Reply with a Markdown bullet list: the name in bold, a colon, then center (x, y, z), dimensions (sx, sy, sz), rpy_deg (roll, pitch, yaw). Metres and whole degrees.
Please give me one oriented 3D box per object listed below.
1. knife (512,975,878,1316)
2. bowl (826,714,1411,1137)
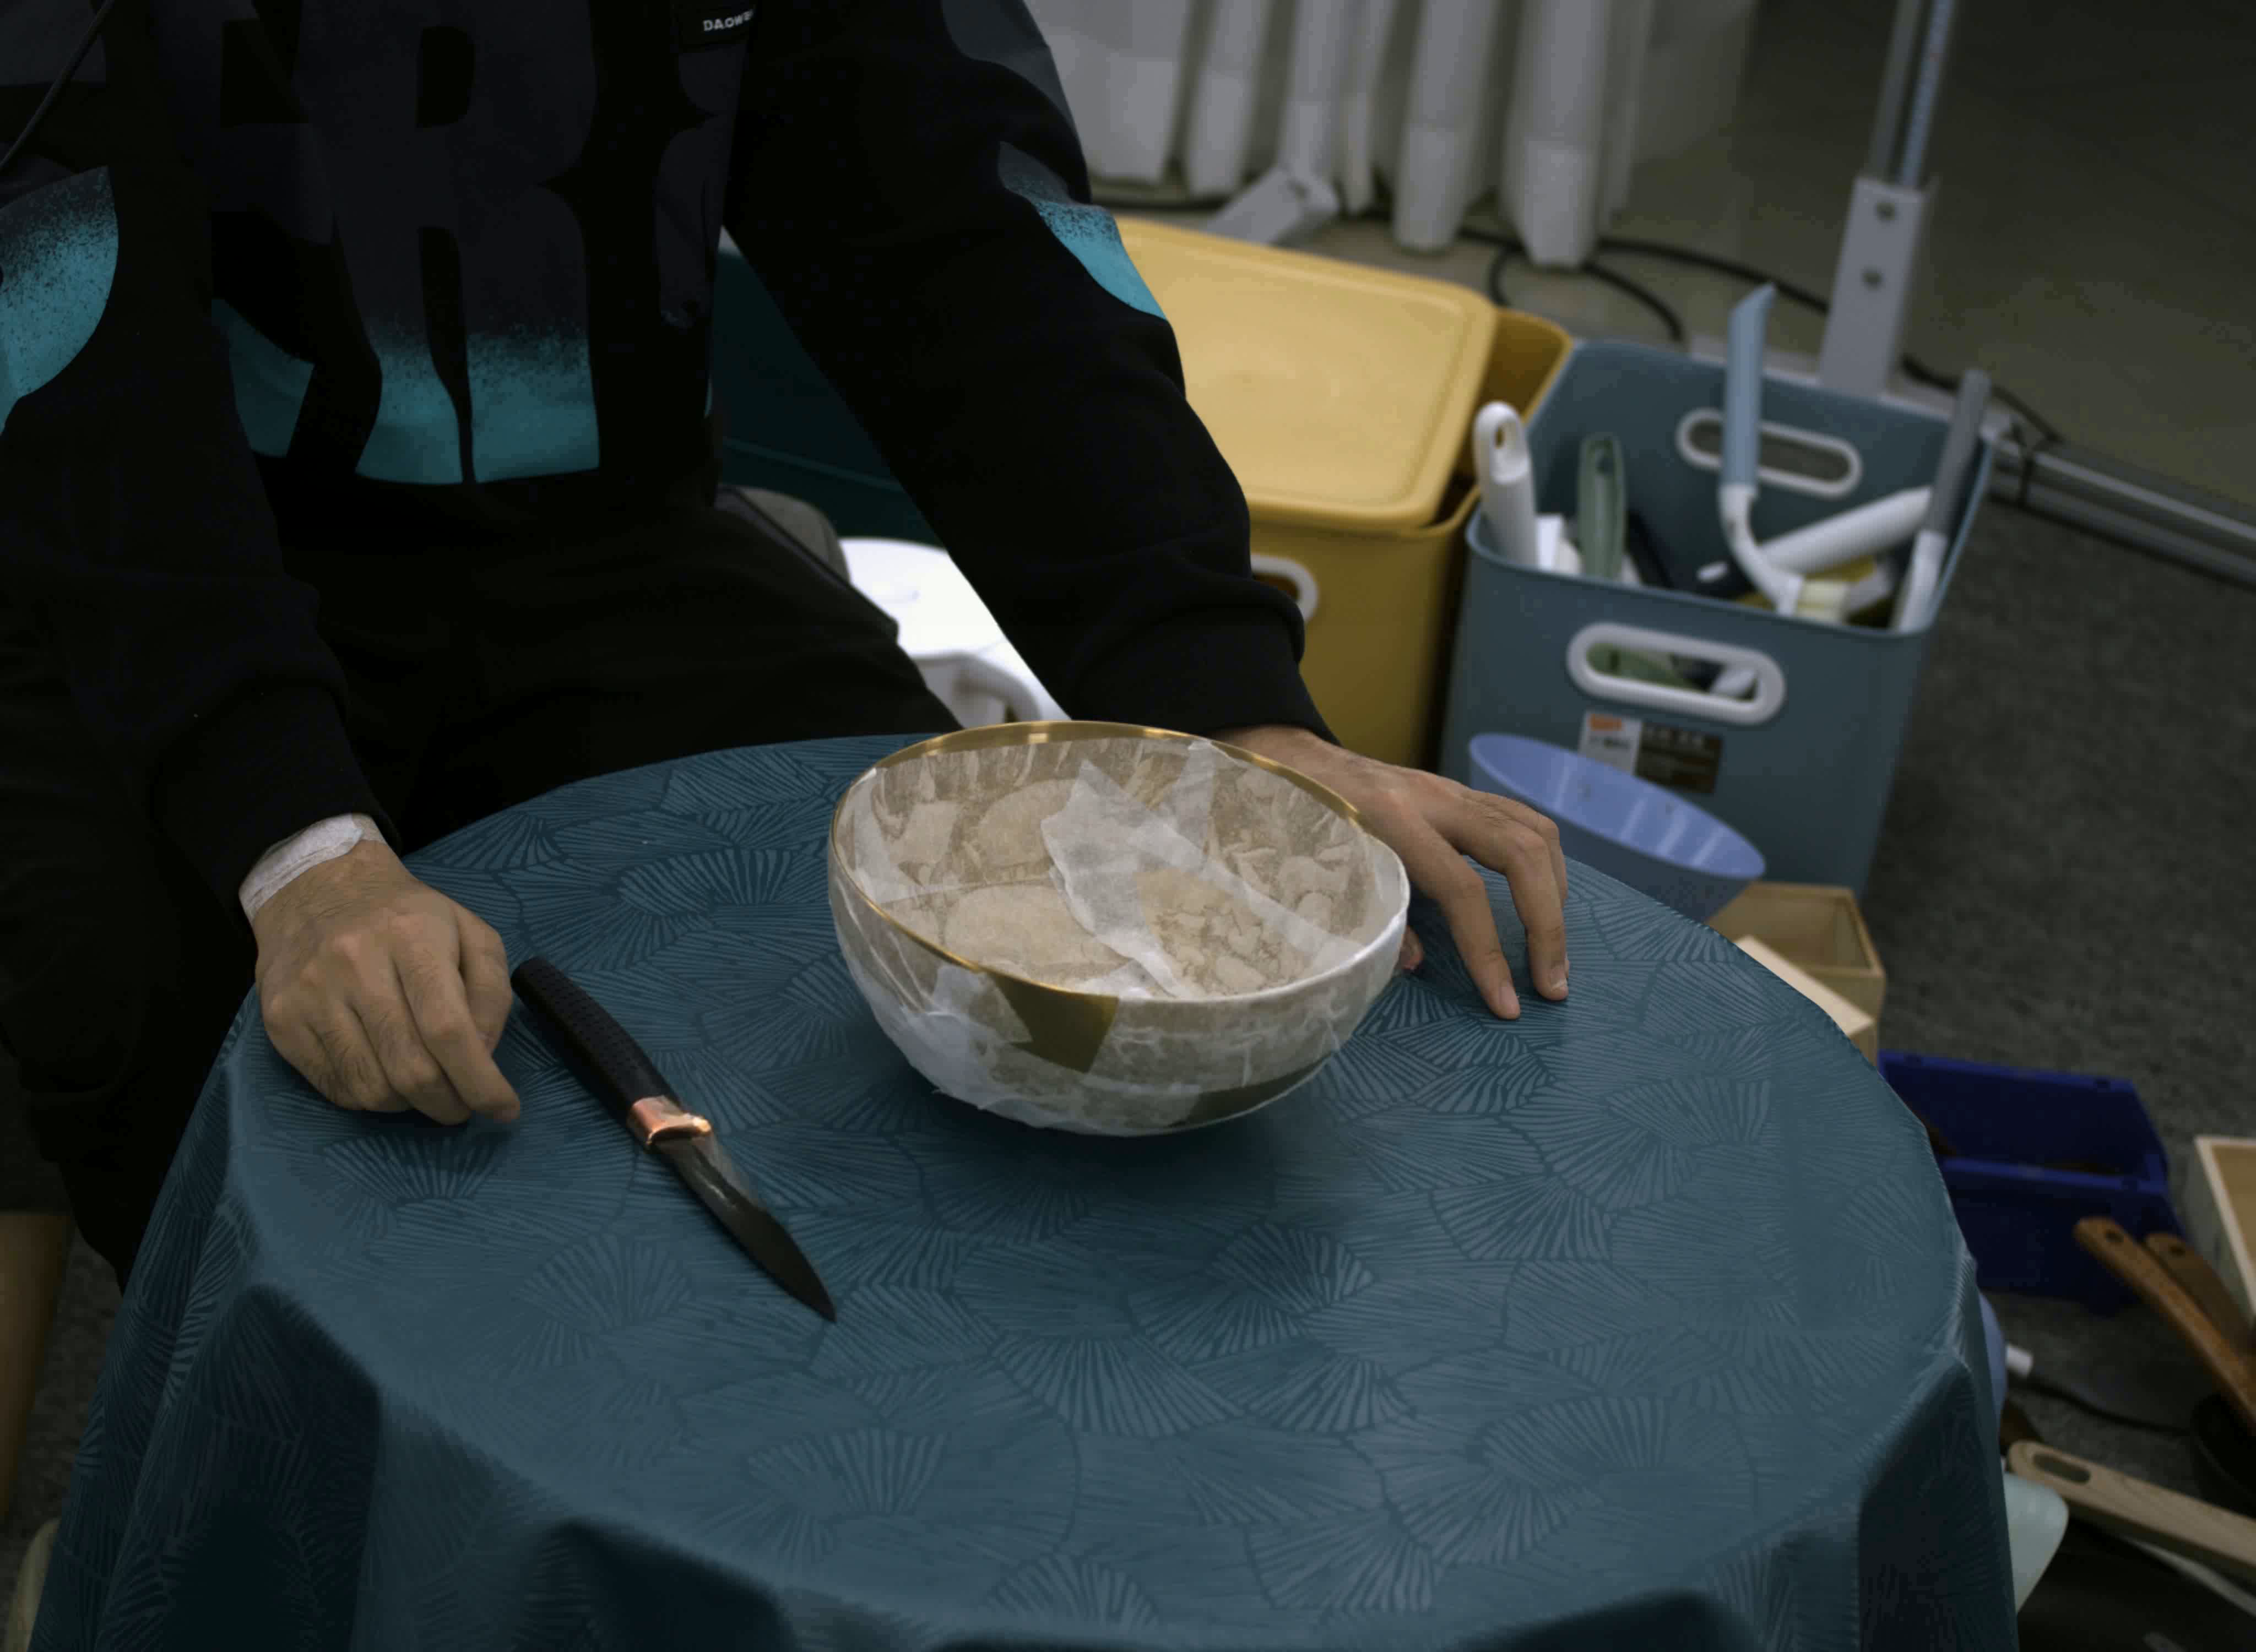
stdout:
- **knife**: center (-0.148, 0.107, 1.791), dimensions (0.026, 0.017, 0.227), rpy_deg (-5, 29, -35)
- **bowl**: center (-0.008, 0.045, 1.849), dimensions (0.214, 0.094, 0.216), rpy_deg (4, 28, -3)
